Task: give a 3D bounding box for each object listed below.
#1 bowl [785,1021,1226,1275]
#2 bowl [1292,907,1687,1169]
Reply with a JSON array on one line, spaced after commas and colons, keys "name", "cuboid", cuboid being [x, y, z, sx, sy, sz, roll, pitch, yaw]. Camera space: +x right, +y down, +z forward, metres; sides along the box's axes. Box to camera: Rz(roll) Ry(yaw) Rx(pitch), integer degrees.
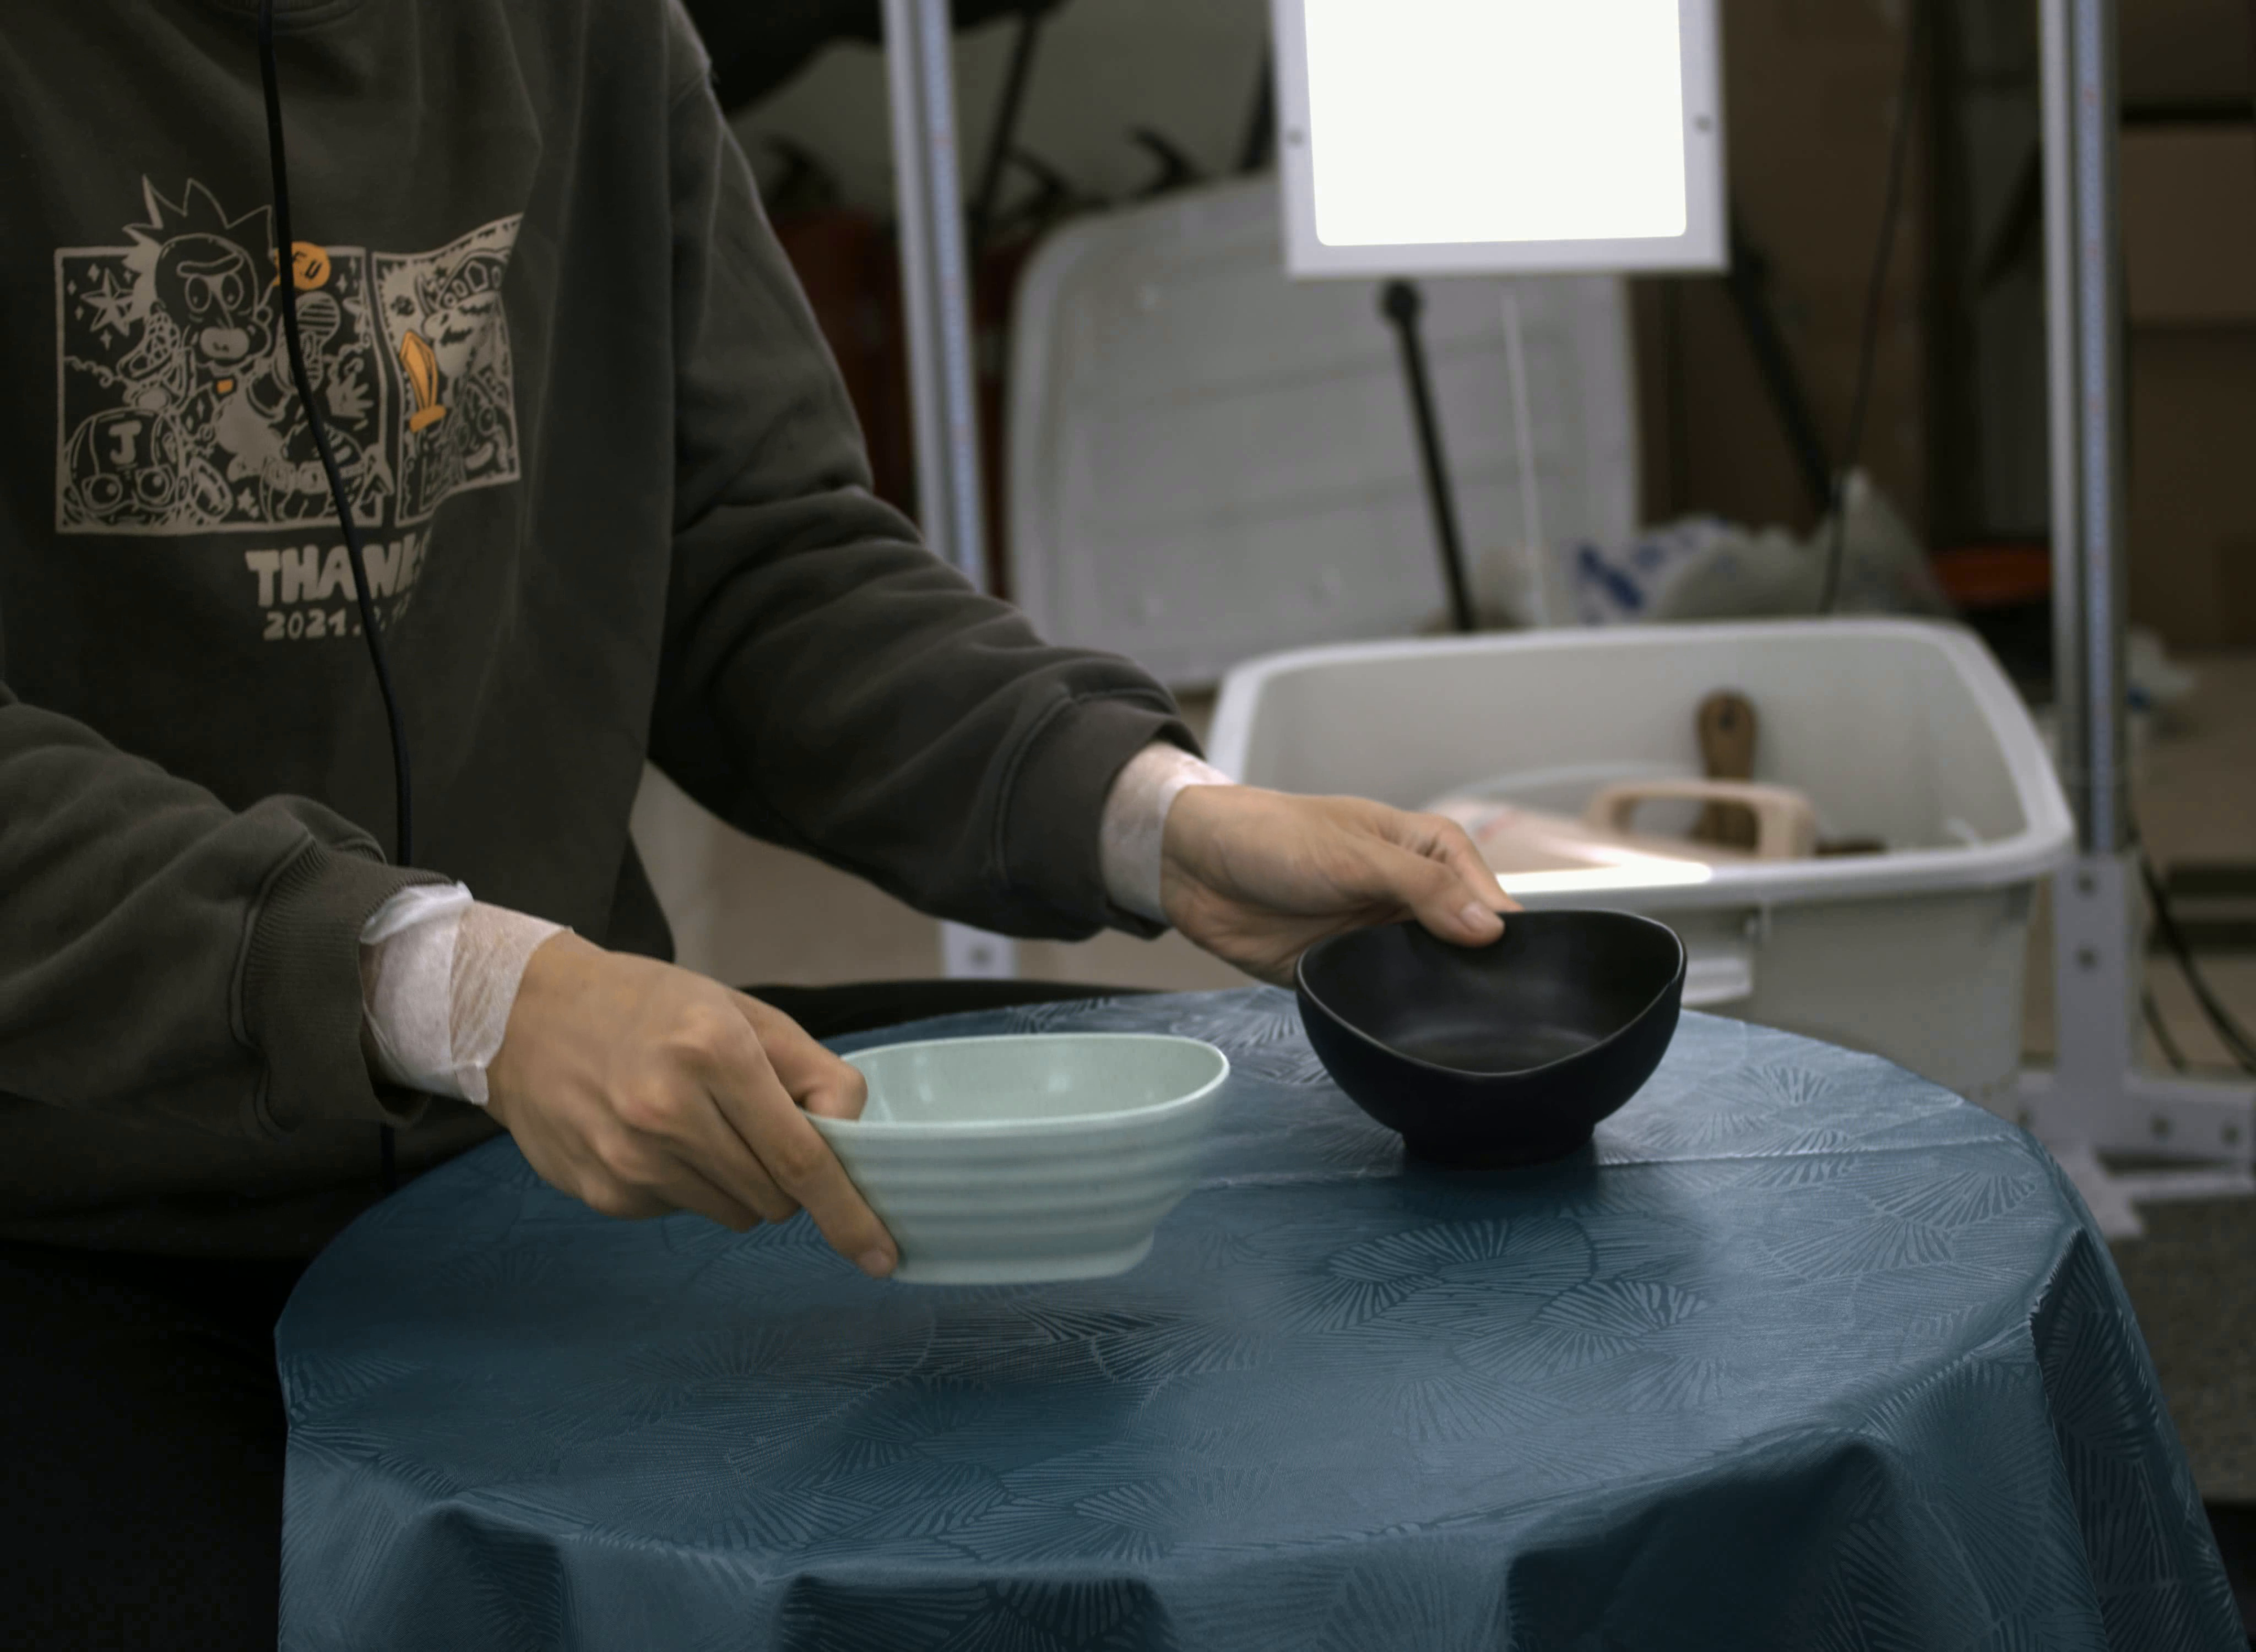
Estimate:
[{"name": "bowl", "cuboid": [-0.038, 0.104, 1.742, 0.151, 0.059, 0.151, -1, 10, -1]}, {"name": "bowl", "cuboid": [0.128, 0.078, 1.912, 0.137, 0.067, 0.170, -5, 16, 1]}]
